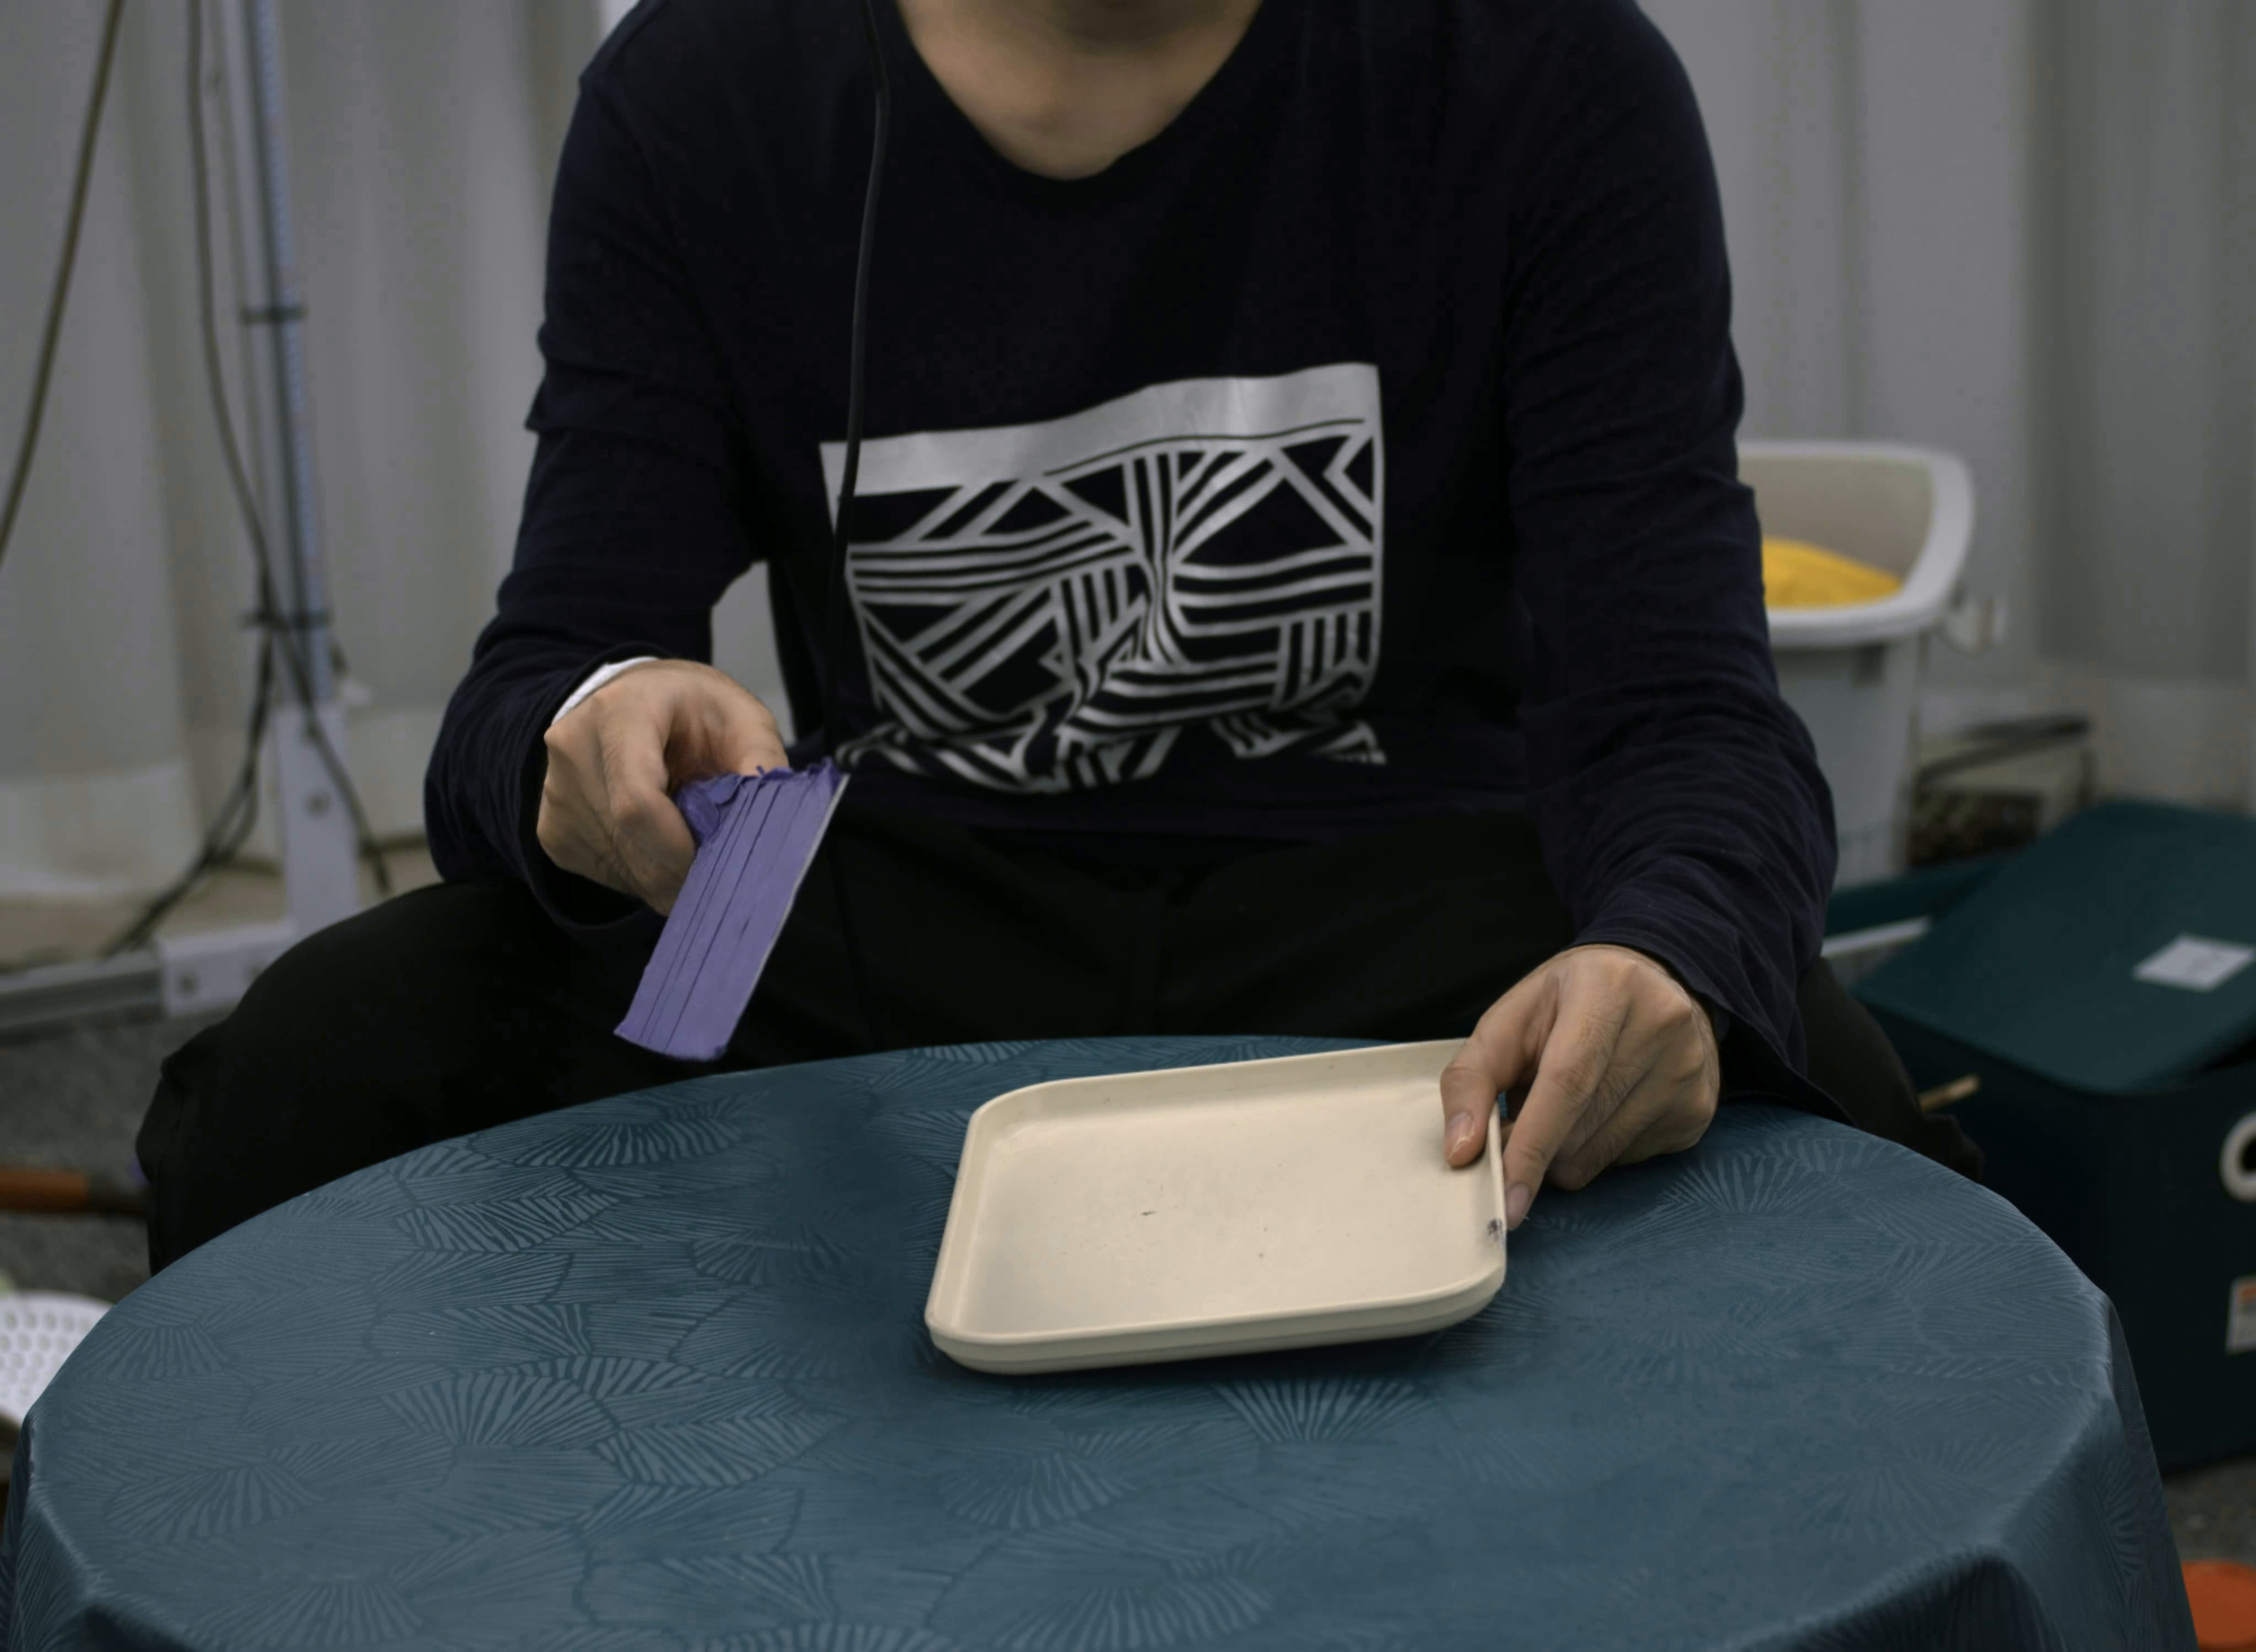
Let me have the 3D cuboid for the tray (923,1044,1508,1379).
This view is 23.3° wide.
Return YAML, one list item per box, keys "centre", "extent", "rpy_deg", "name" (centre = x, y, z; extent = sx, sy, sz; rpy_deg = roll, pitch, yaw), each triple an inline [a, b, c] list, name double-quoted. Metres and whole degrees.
- centre: [0.029, 0.116, 1.654]
  extent: [0.171, 0.017, 0.241]
  rpy_deg: [-7, 15, 5]
  name: "tray"

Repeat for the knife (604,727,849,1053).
- centre: [-0.134, 0.022, 1.664]
  extent: [0.032, 0.104, 0.315]
  rpy_deg: [27, -7, -9]
  name: "knife"
